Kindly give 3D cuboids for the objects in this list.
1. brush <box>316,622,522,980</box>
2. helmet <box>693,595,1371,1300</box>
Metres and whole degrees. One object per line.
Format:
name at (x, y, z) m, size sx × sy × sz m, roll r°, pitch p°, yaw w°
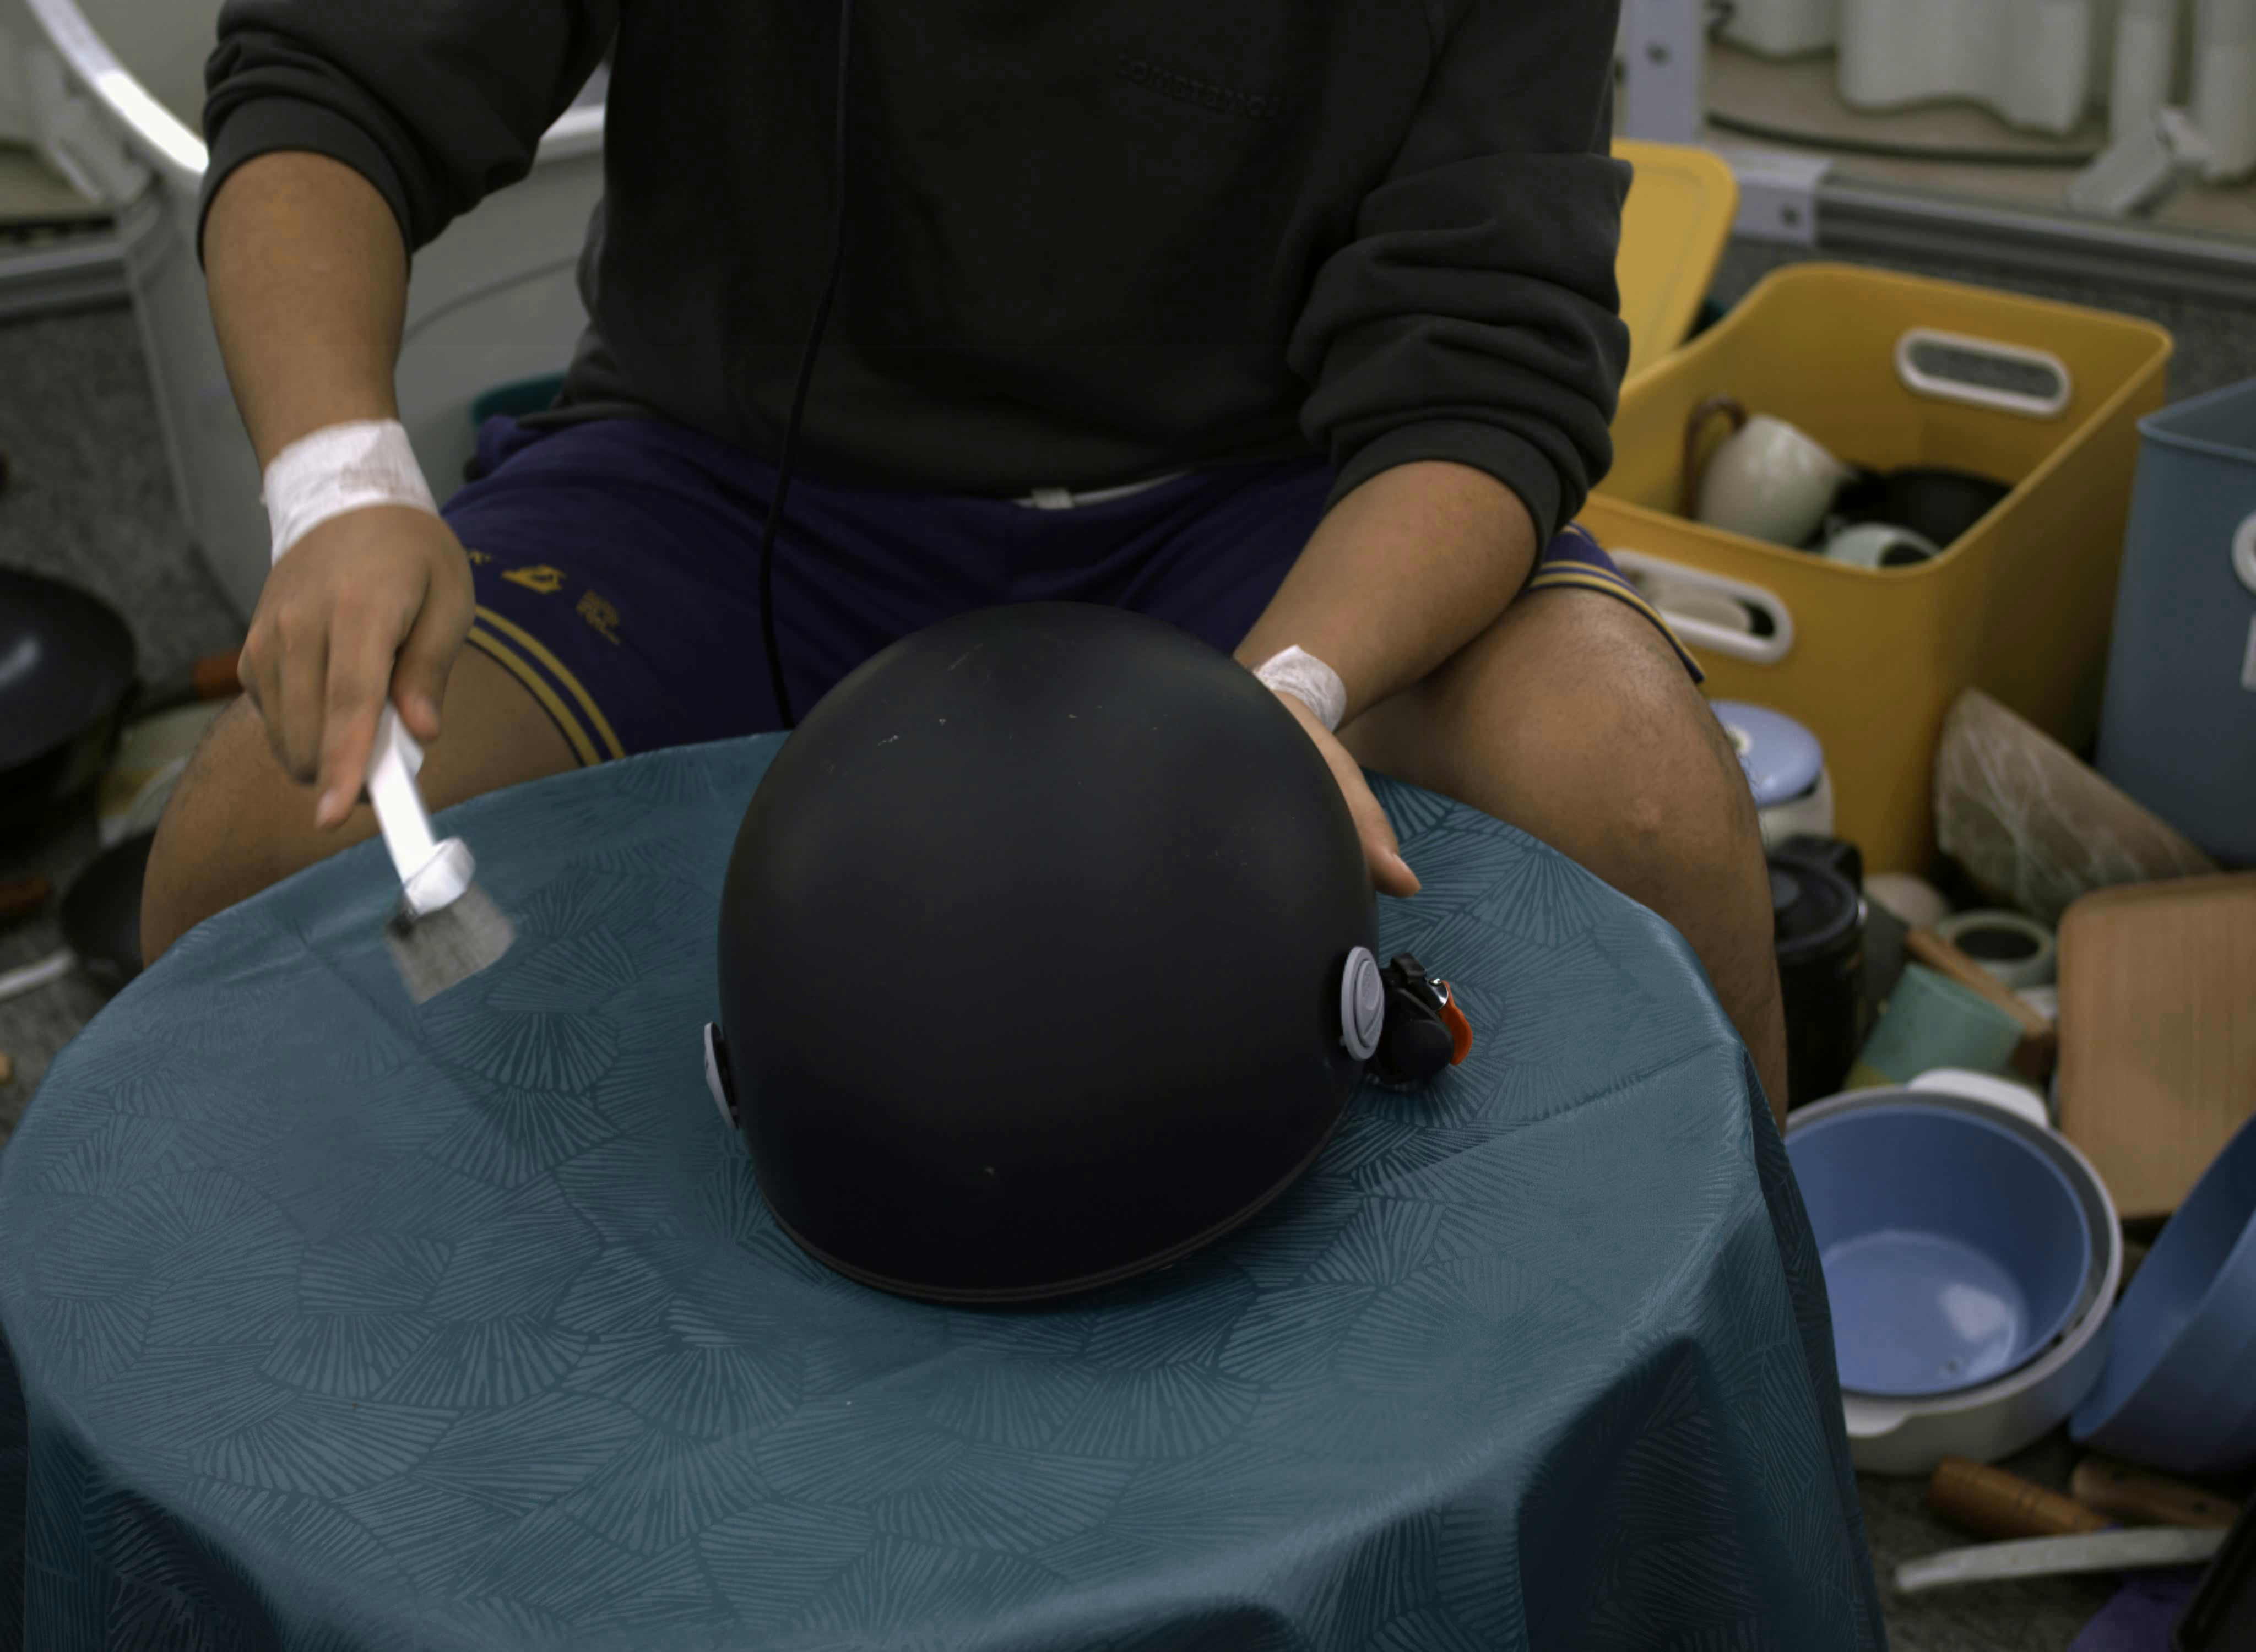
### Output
brush at (-0.241, -0.008, 1.902) m, size 0.034 × 0.050 × 0.246 m, roll -31°, pitch 26°, yaw -1°
helmet at (-0.036, 0.021, 1.877) m, size 0.228 × 0.165 × 0.278 m, roll -7°, pitch 29°, yaw 13°
